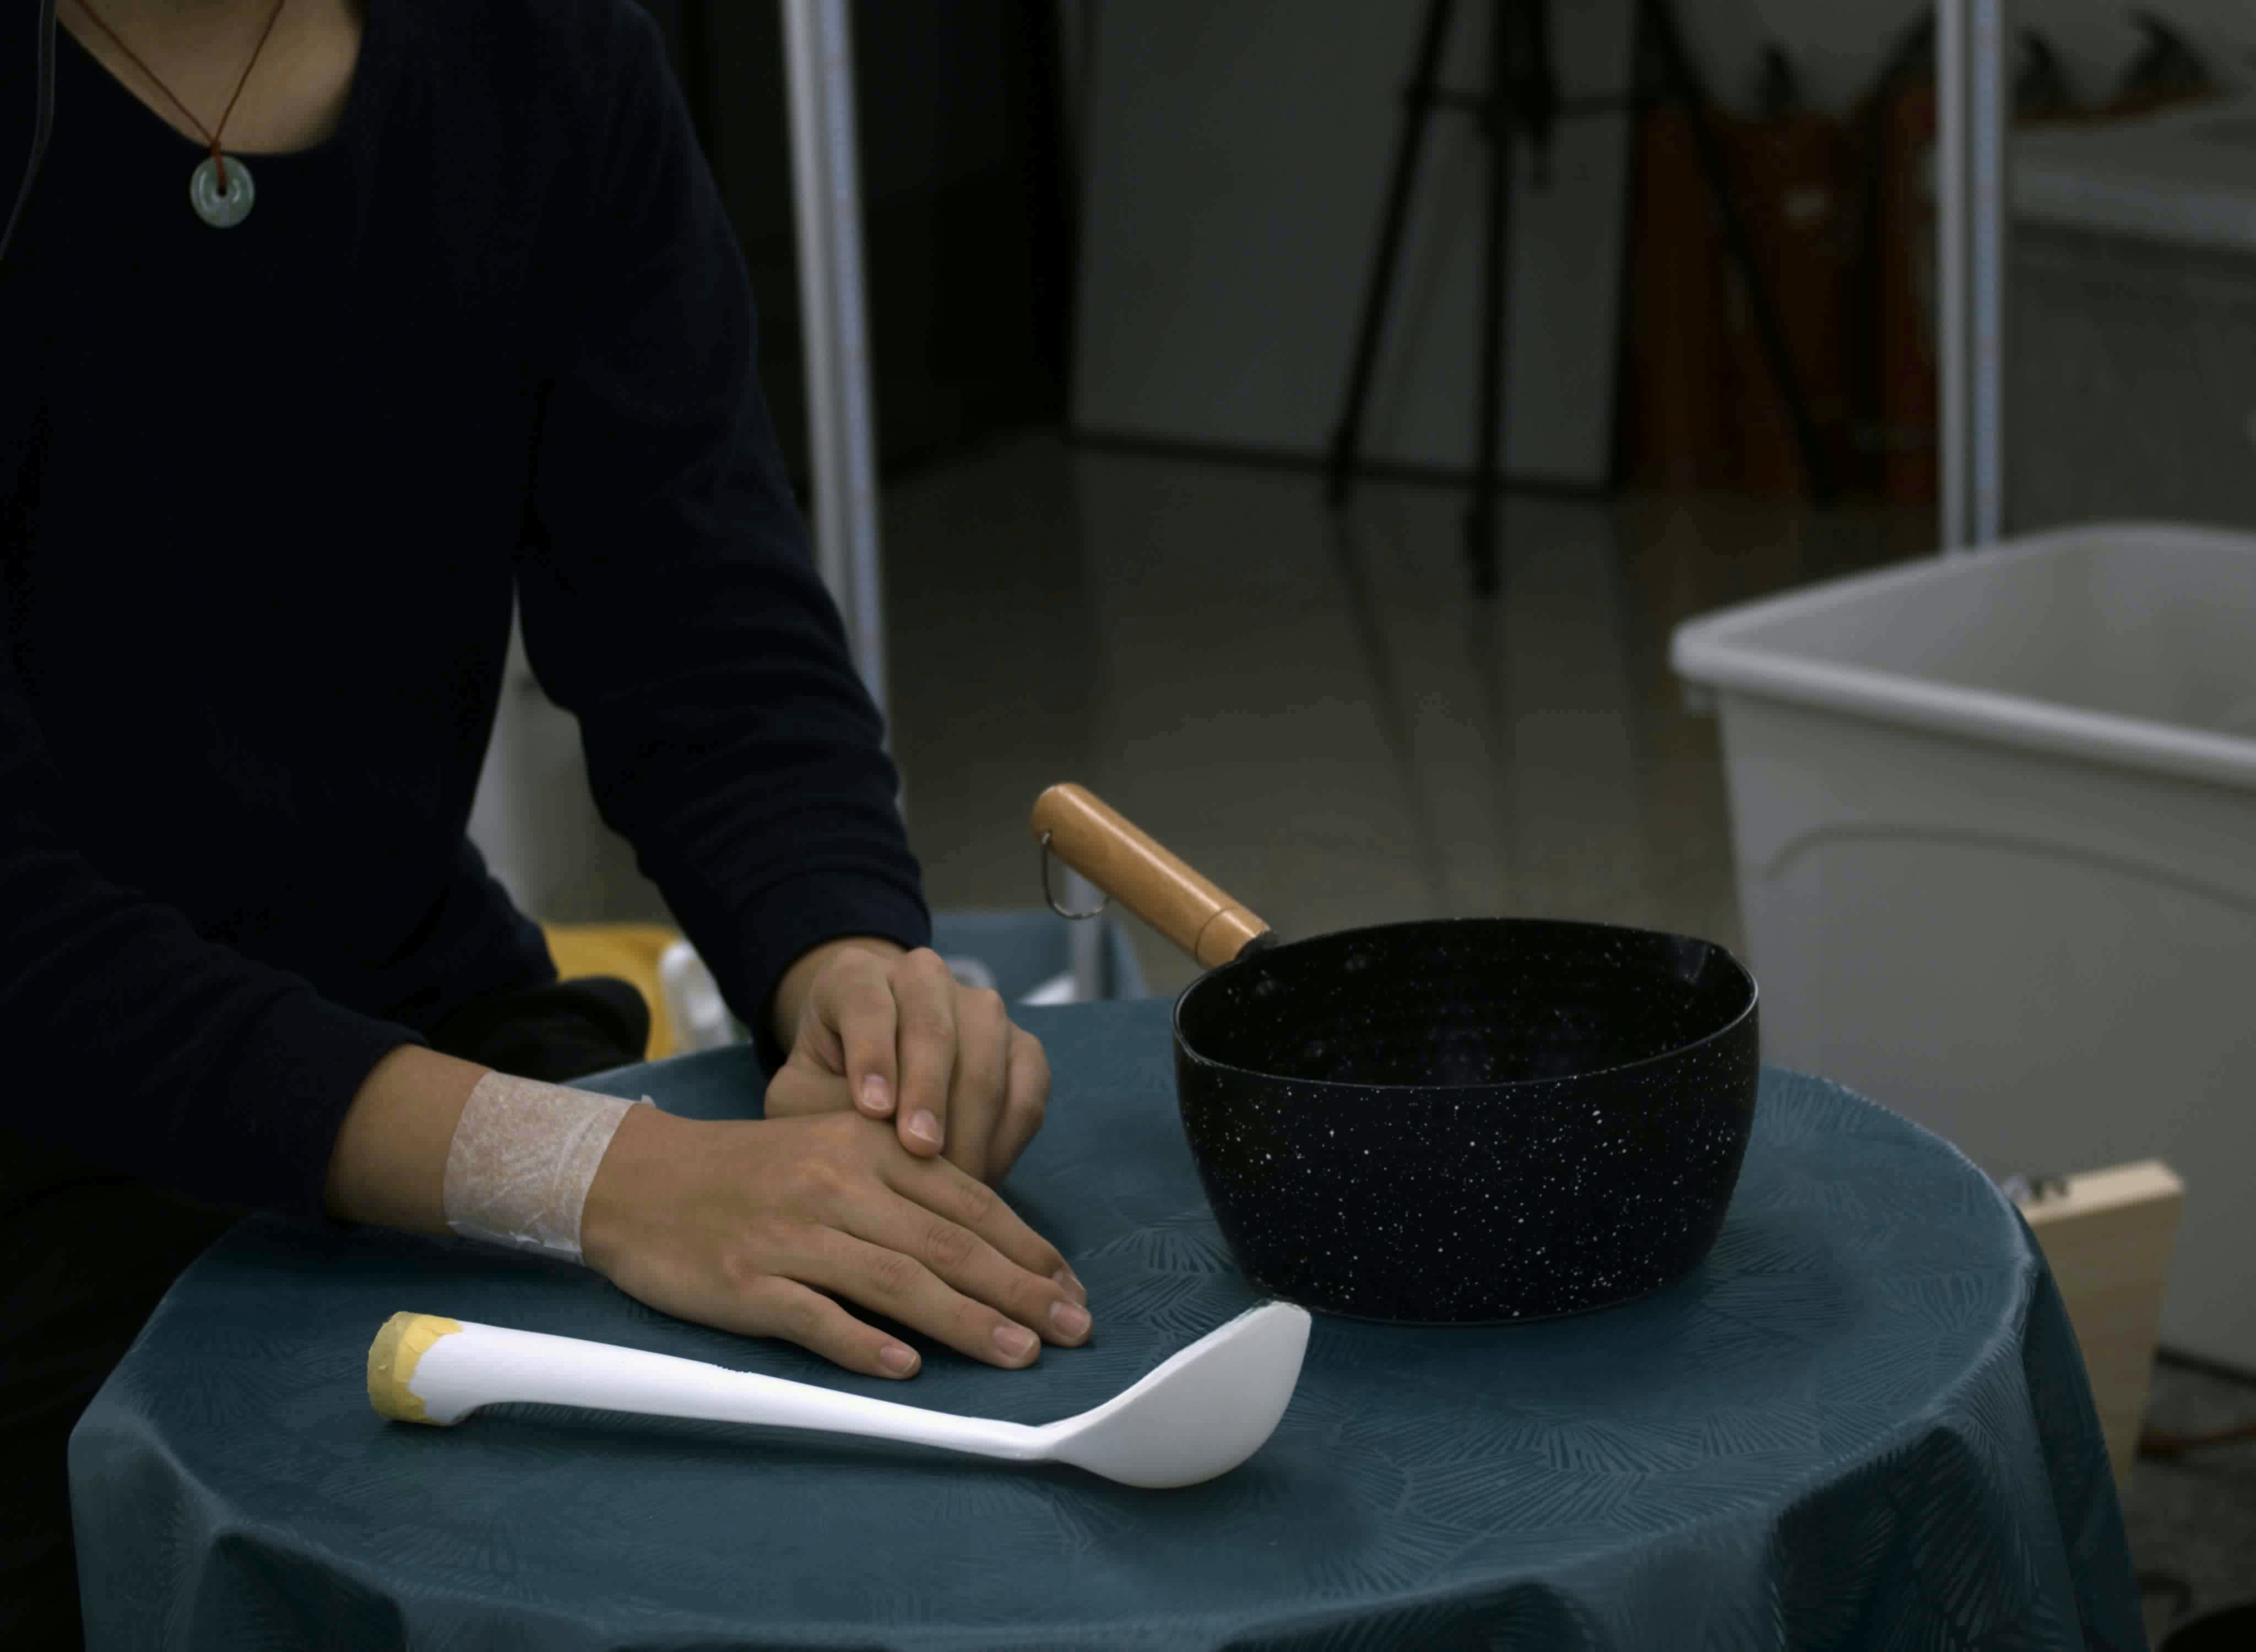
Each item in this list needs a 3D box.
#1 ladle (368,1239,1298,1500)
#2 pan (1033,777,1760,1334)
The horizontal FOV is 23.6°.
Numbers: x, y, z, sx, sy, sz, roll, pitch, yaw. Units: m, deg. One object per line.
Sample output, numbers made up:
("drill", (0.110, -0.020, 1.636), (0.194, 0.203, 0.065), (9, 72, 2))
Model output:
("ladle", (-0.087, 0.151, 1.538), (0.293, 0.070, 0.089), (1, 20, 24))
("pan", (0.063, 0.068, 1.742), (0.203, 0.109, 0.346), (-13, 18, -30))
